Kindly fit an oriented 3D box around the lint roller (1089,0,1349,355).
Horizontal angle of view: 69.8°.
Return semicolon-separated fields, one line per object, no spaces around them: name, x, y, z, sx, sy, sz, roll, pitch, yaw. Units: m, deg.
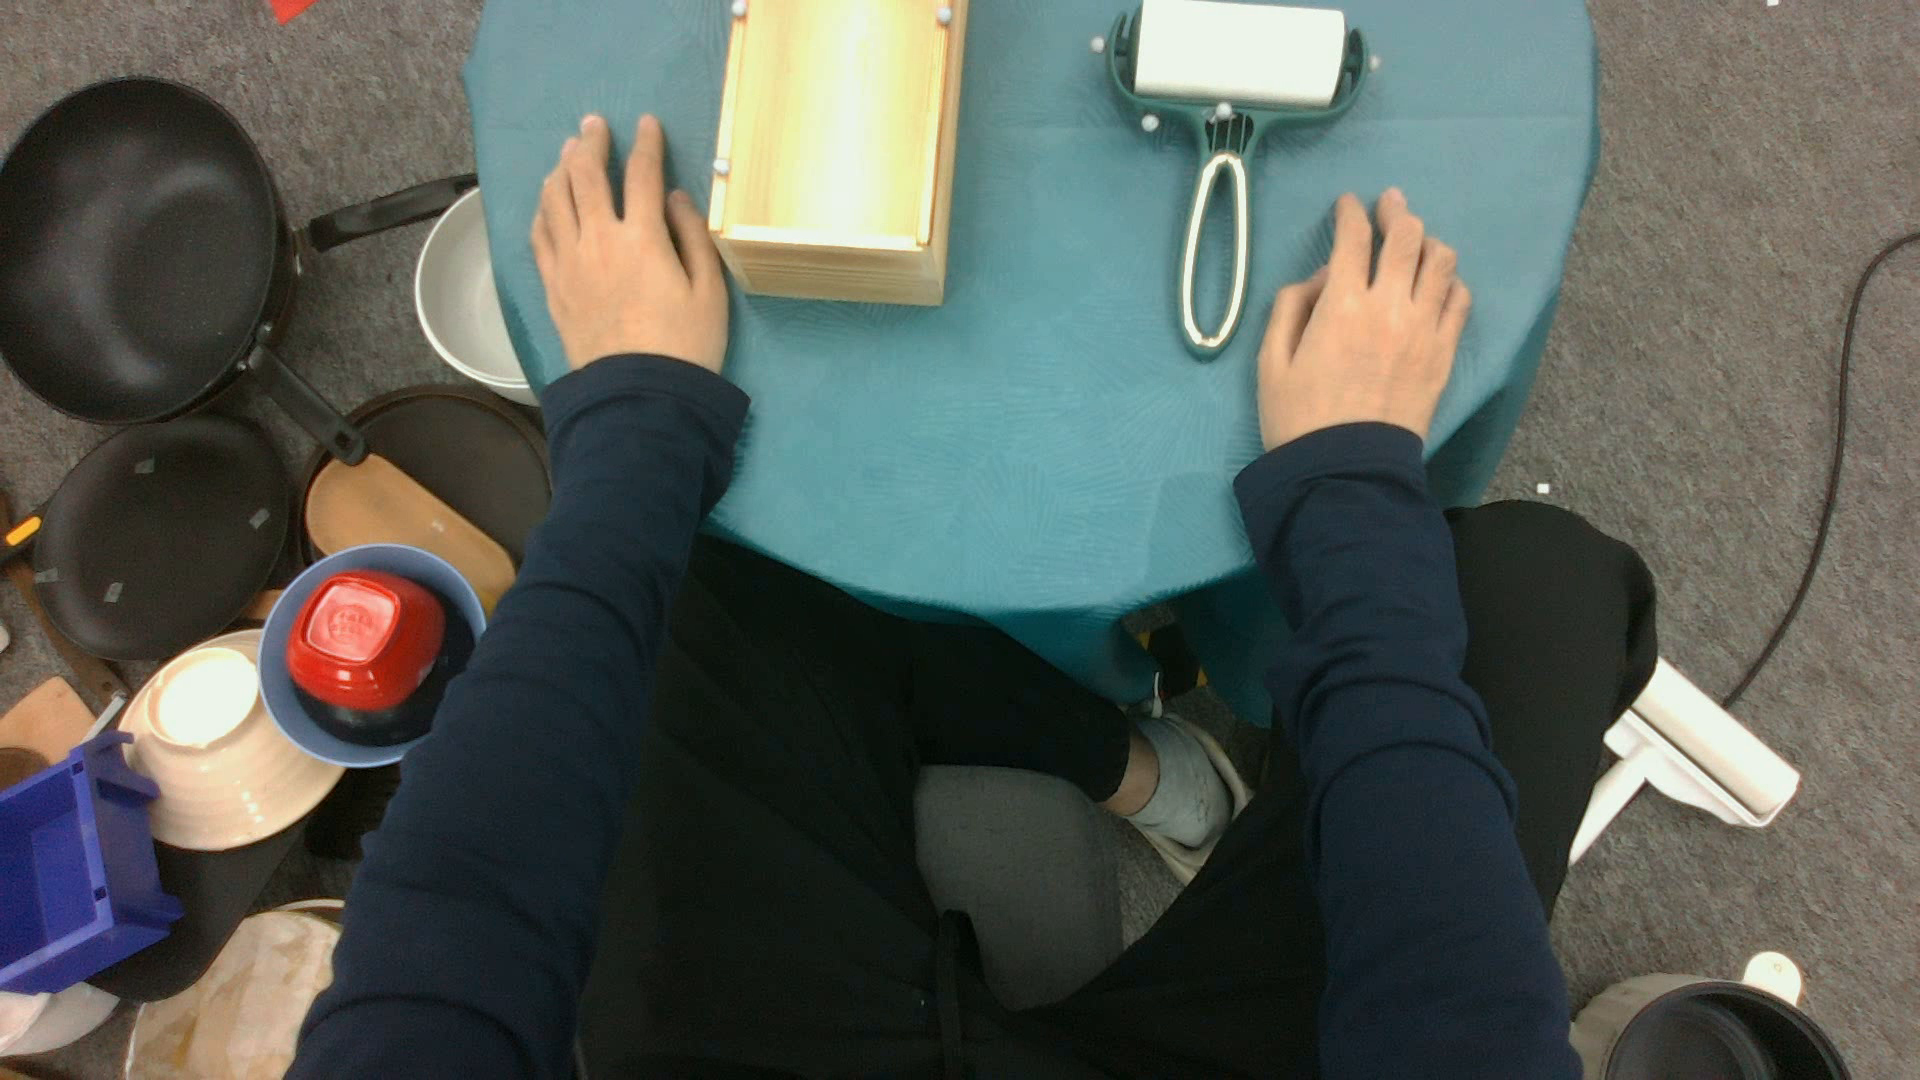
lint roller;0.126;-0.187;0.703;0.134;0.048;0.180;5;81;3

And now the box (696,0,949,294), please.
box;-0.063;-0.241;0.700;0.107;0.080;0.212;3;80;2
